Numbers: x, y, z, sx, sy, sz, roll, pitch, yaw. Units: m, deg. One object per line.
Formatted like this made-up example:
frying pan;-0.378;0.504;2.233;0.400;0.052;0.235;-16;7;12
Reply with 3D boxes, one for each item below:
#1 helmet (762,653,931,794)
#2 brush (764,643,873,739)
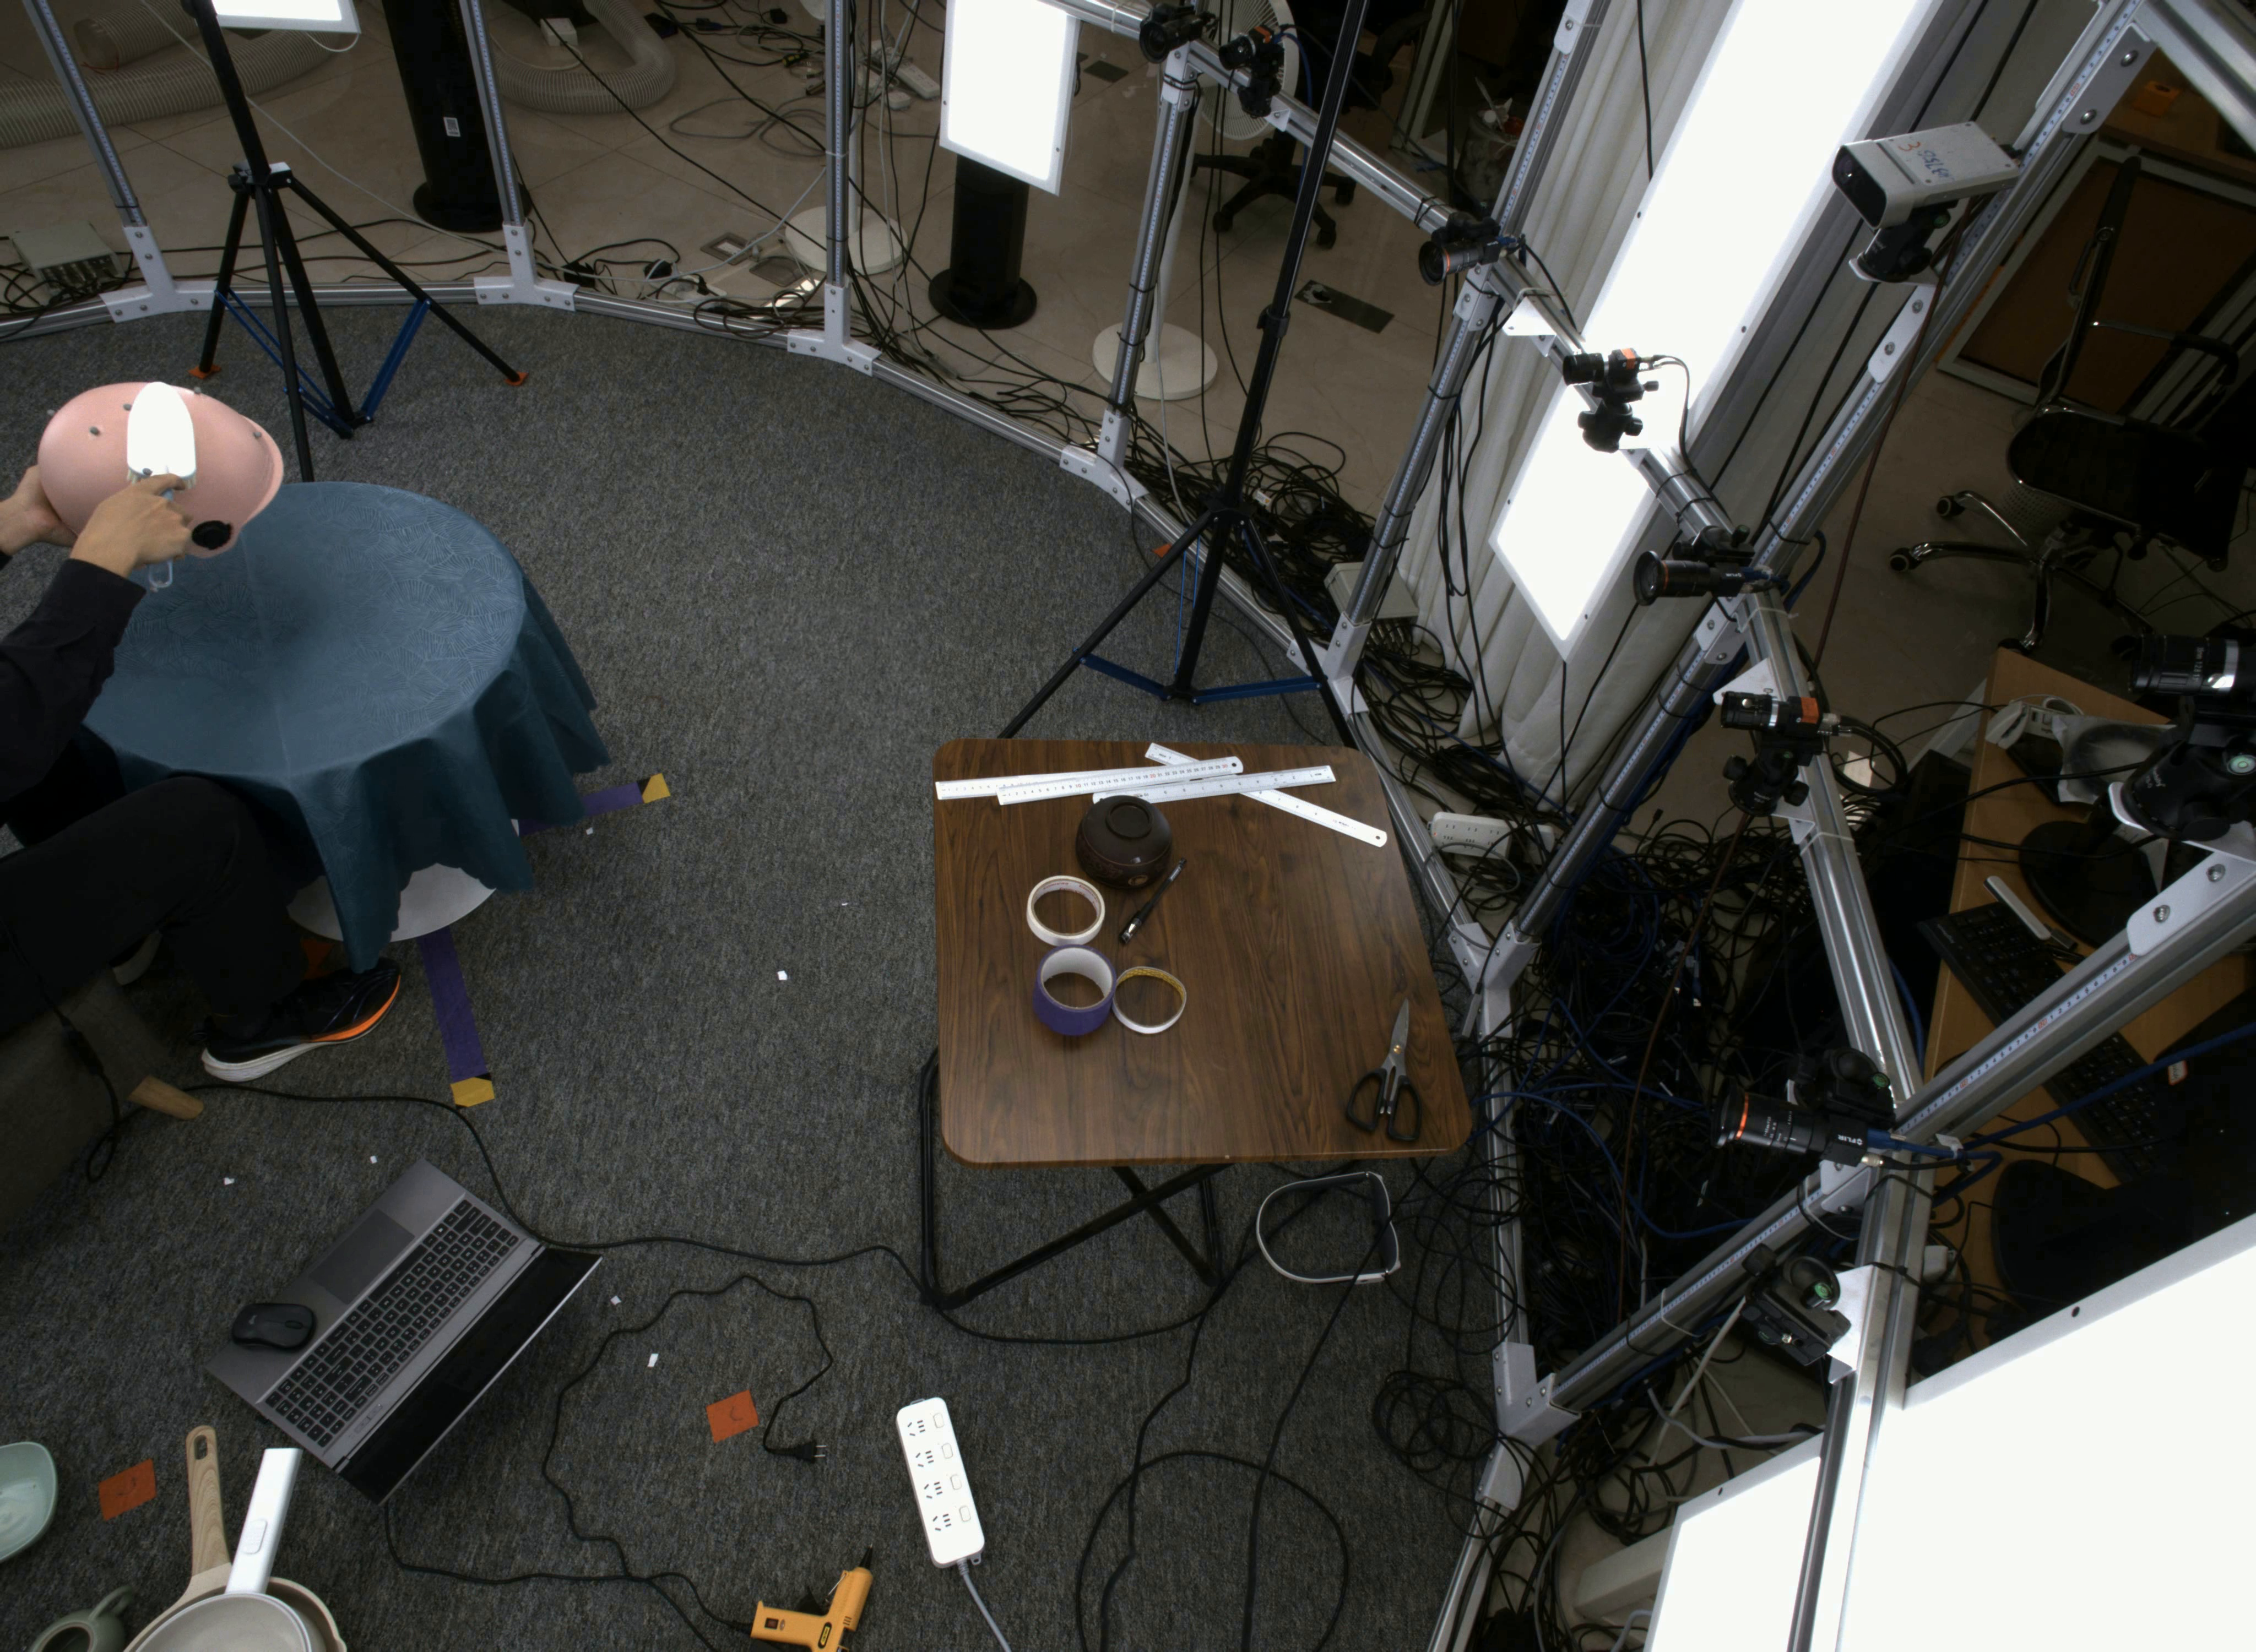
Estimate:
helmet;-0.450;-0.179;2.023;0.262;0.164;0.229;-2;41;2
brush;-0.447;-0.172;1.842;0.081;0.087;0.322;-9;25;18
